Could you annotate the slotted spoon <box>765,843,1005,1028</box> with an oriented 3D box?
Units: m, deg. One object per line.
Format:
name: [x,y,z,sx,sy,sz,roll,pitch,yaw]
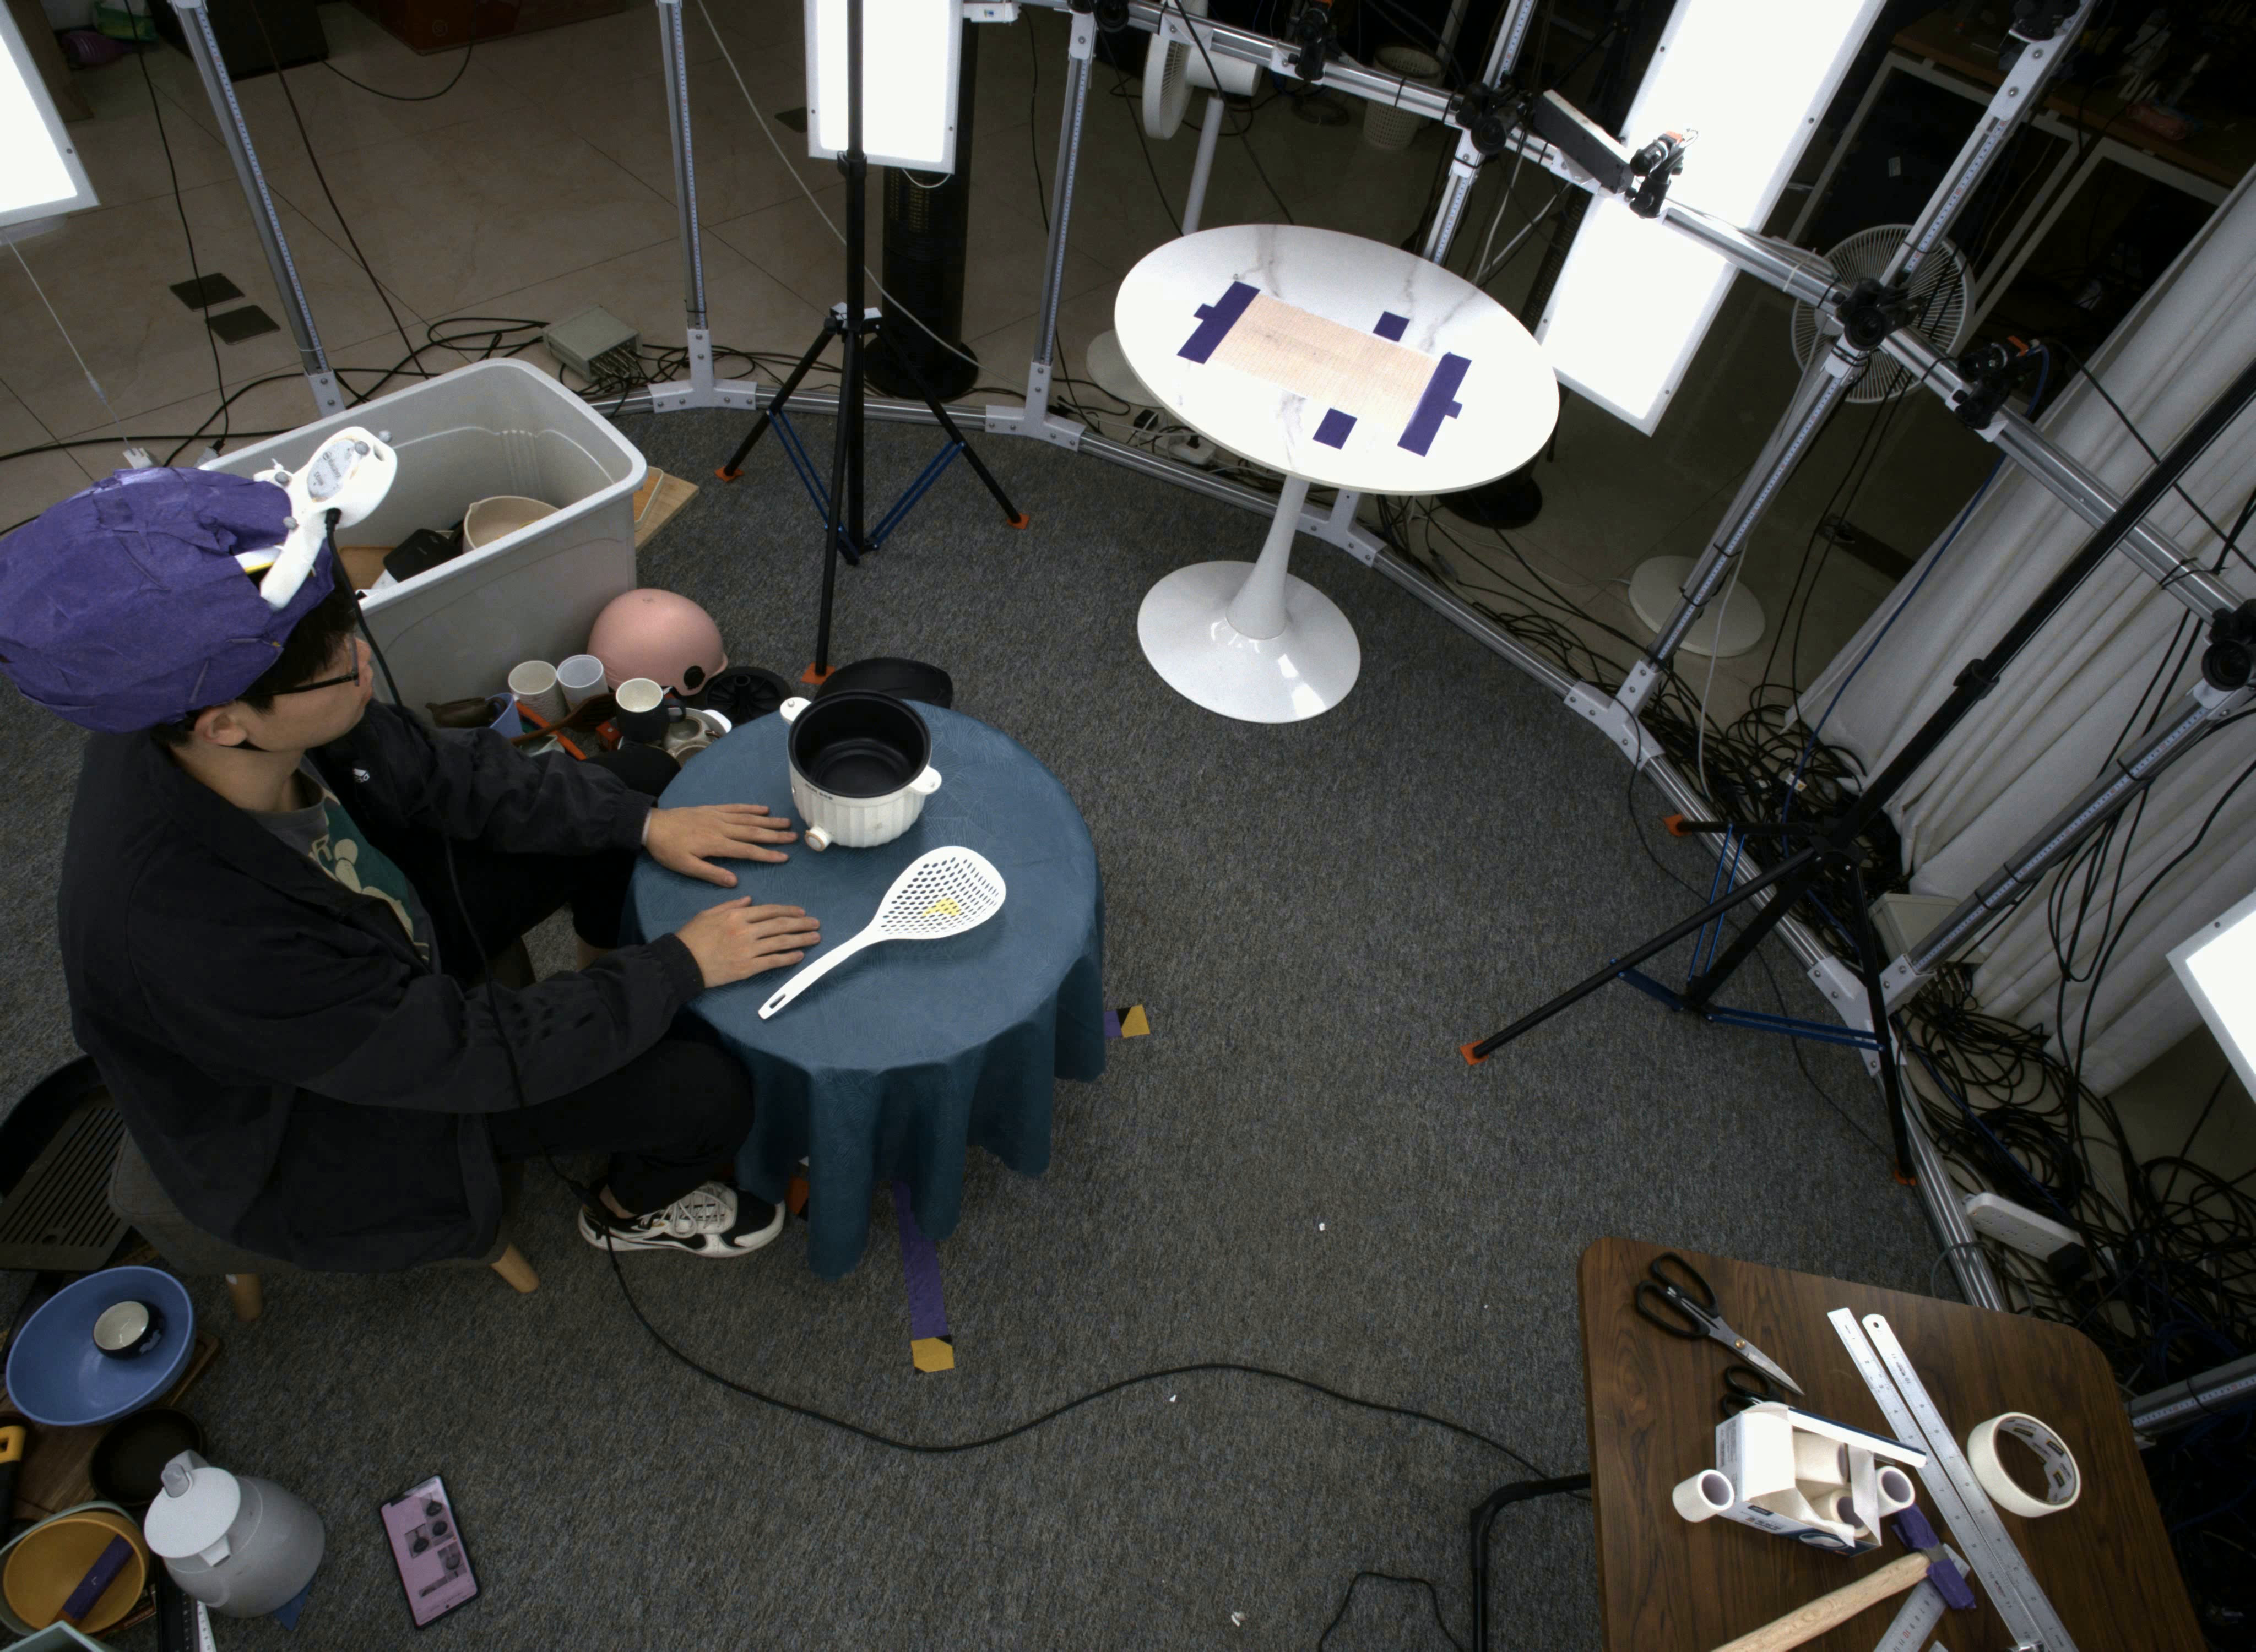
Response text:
slotted spoon: [-0.309,0.138,1.624,0.349,0.051,0.133,-31,61,-31]

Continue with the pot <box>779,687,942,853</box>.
pot: [-0.353,-0.064,1.702,0.236,0.146,0.189,27,49,9]
